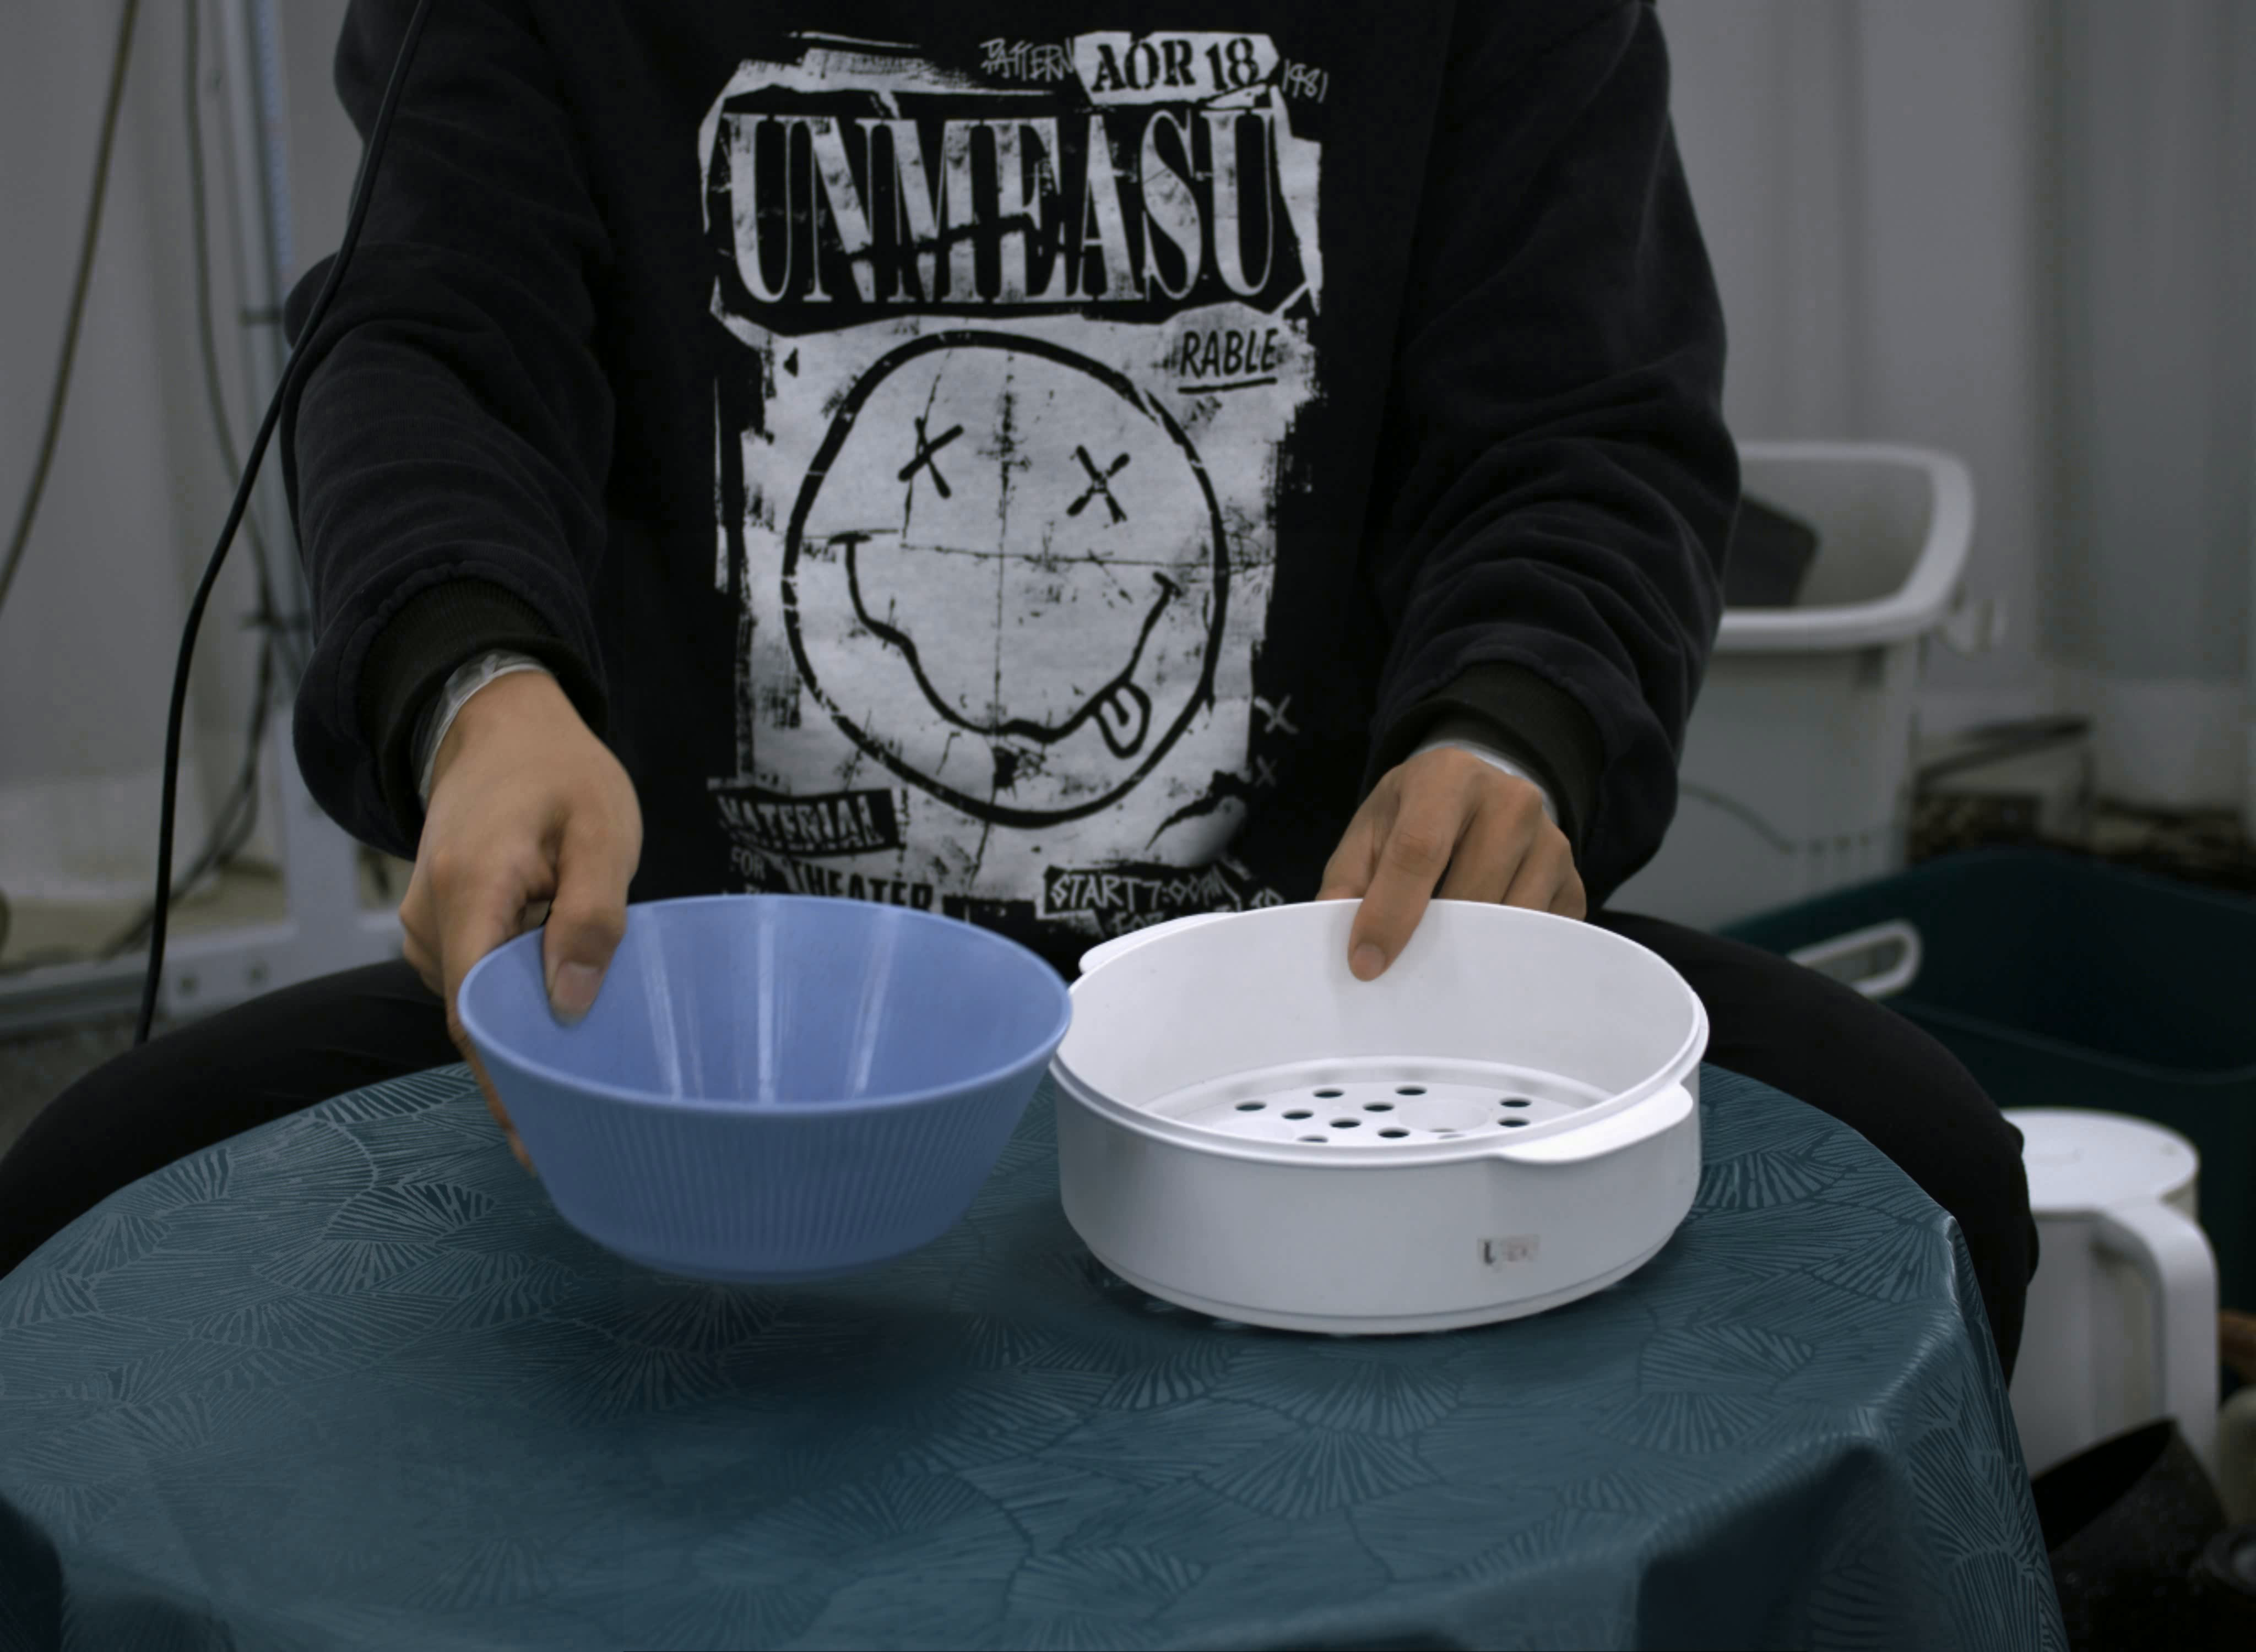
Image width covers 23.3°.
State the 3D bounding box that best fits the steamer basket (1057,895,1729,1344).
[{"bbox_3d":[0.079,0.088,1.647,0.201,0.069,0.232,-17,27,-35],"label":"steamer basket"}]

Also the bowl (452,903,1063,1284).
[{"bbox_3d":[-0.108,0.080,1.581,0.175,0.070,0.177,3,18,-1],"label":"bowl"}]
